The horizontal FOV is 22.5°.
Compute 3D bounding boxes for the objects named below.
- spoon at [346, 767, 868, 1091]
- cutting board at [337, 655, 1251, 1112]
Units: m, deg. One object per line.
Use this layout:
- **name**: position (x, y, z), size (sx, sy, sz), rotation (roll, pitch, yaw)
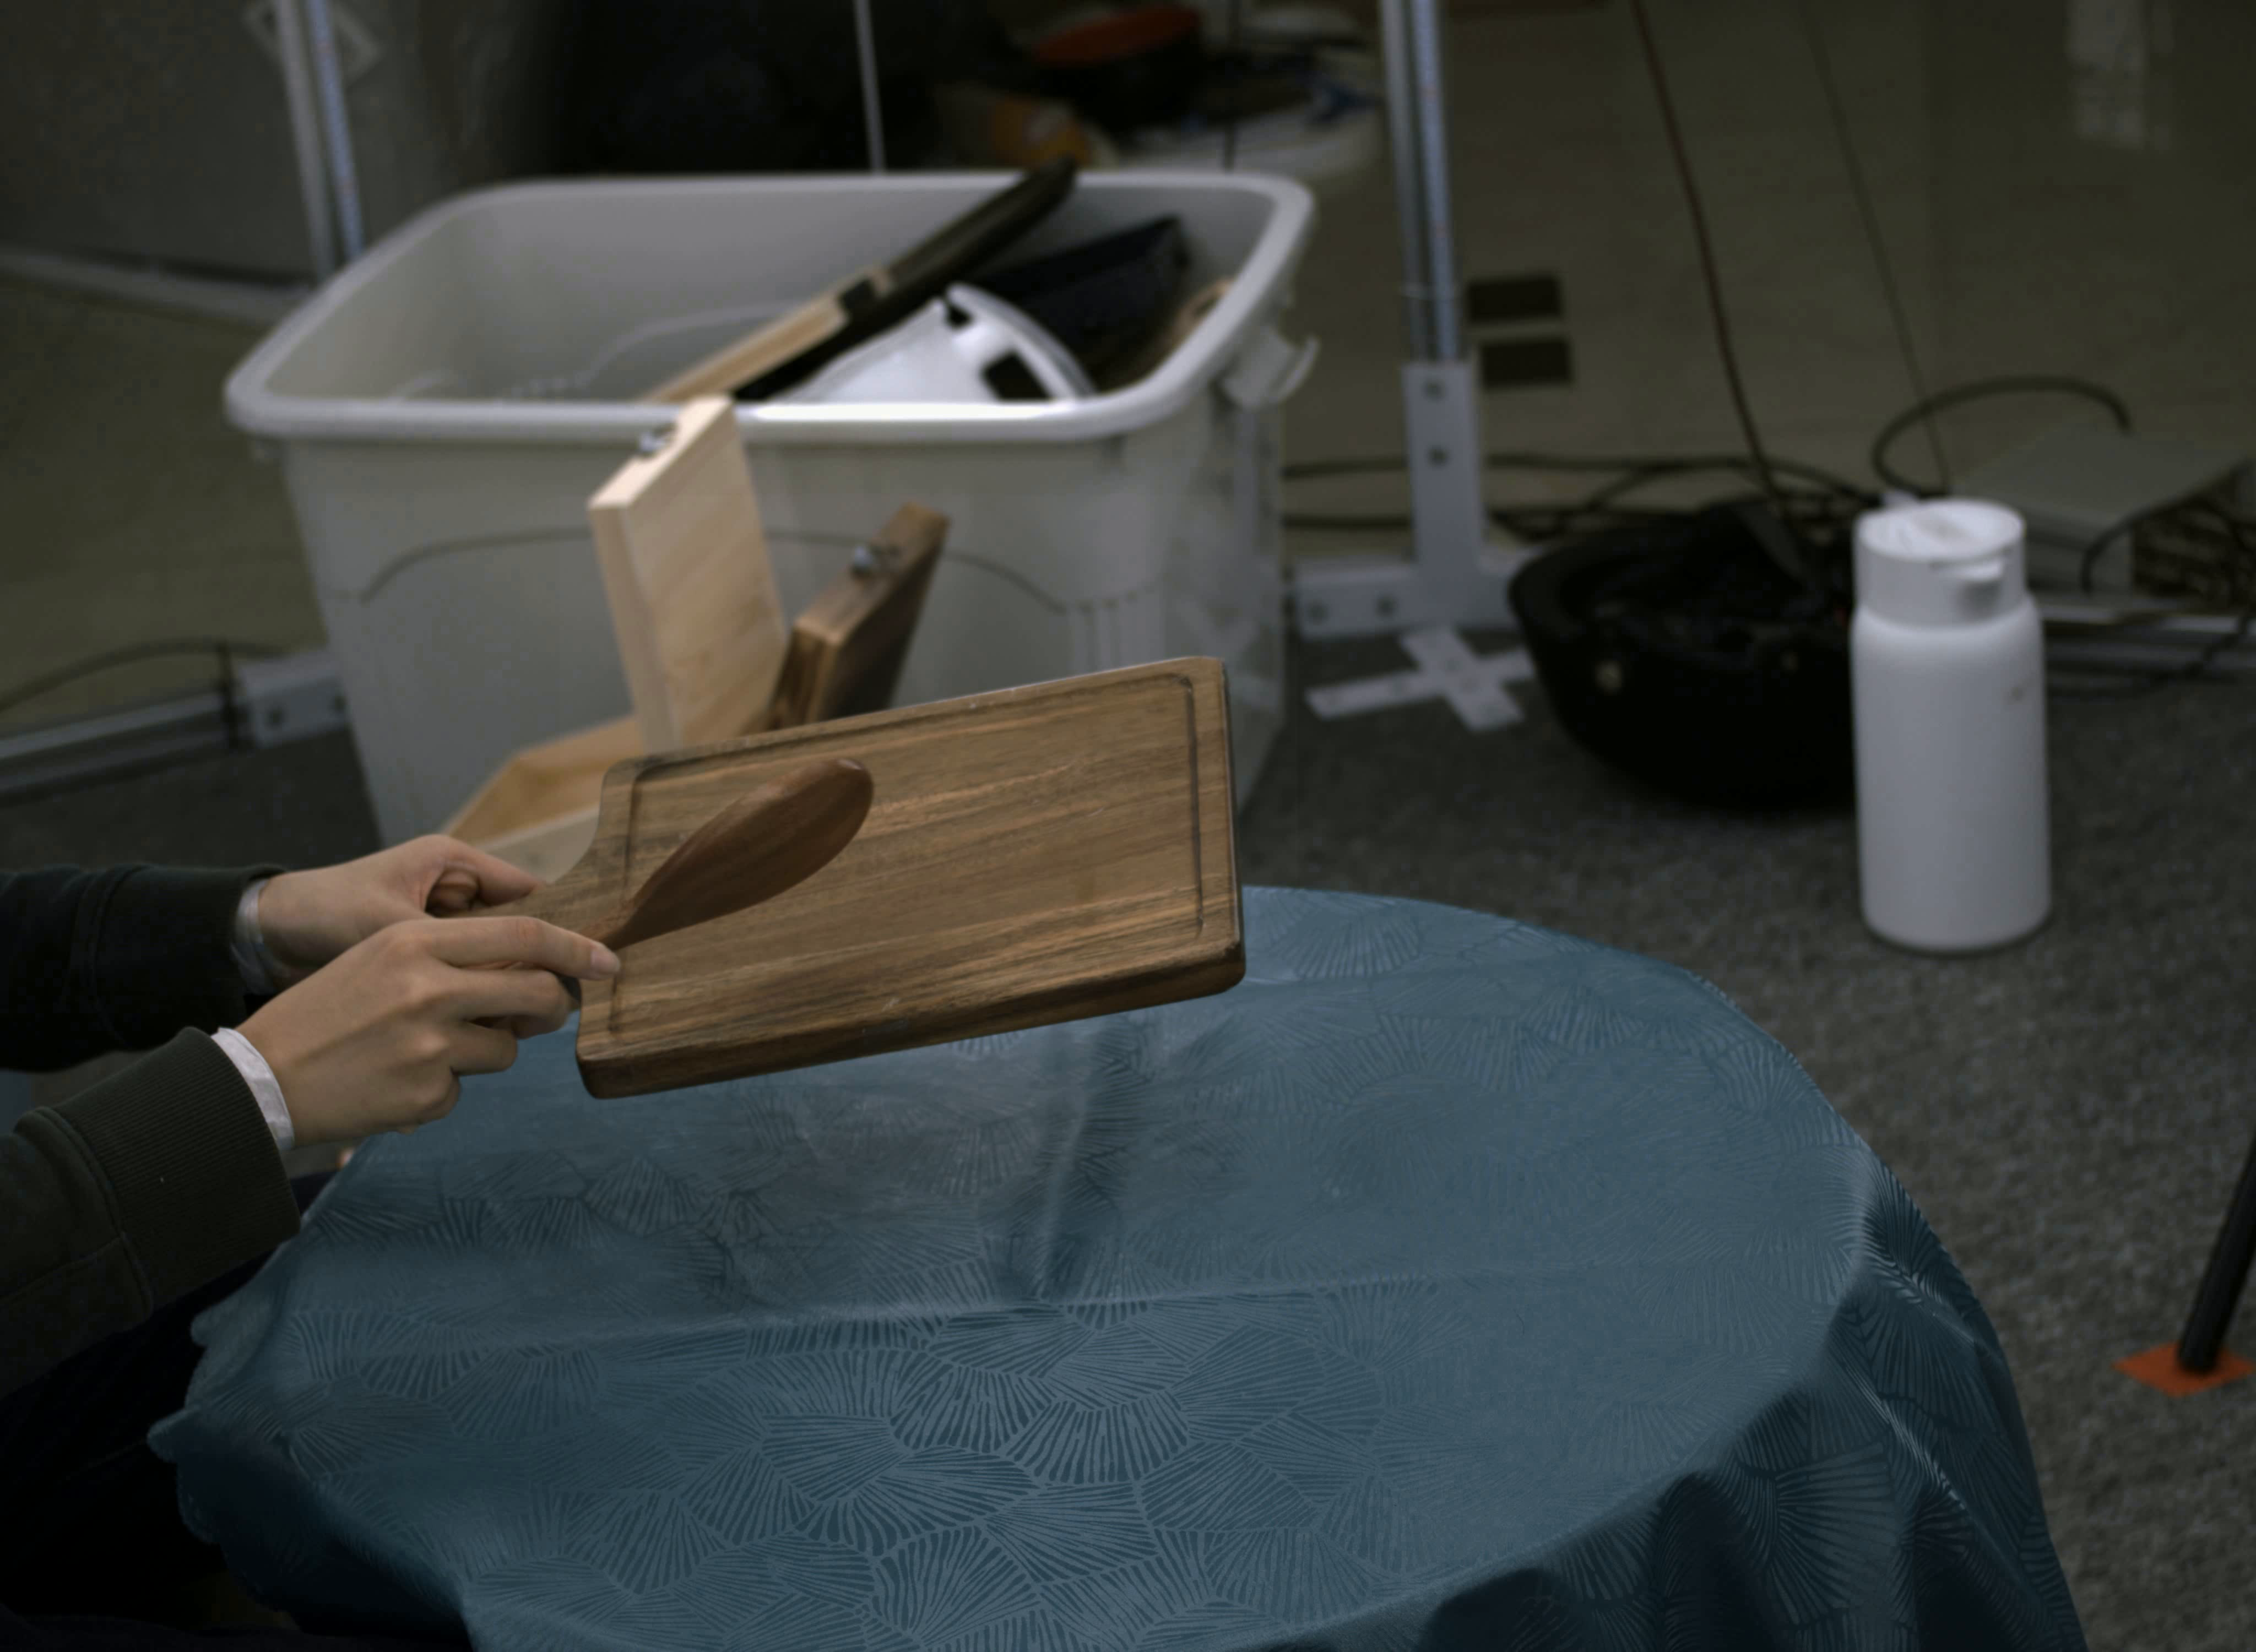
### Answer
- **spoon**: position (-0.185, 0.039, 2.051), size (0.215, 0.076, 0.017), rotation (-28, 69, -13)
- **cutting board**: position (-0.130, 0.027, 2.159), size (0.352, 0.023, 0.197), rotation (-10, 38, 6)
